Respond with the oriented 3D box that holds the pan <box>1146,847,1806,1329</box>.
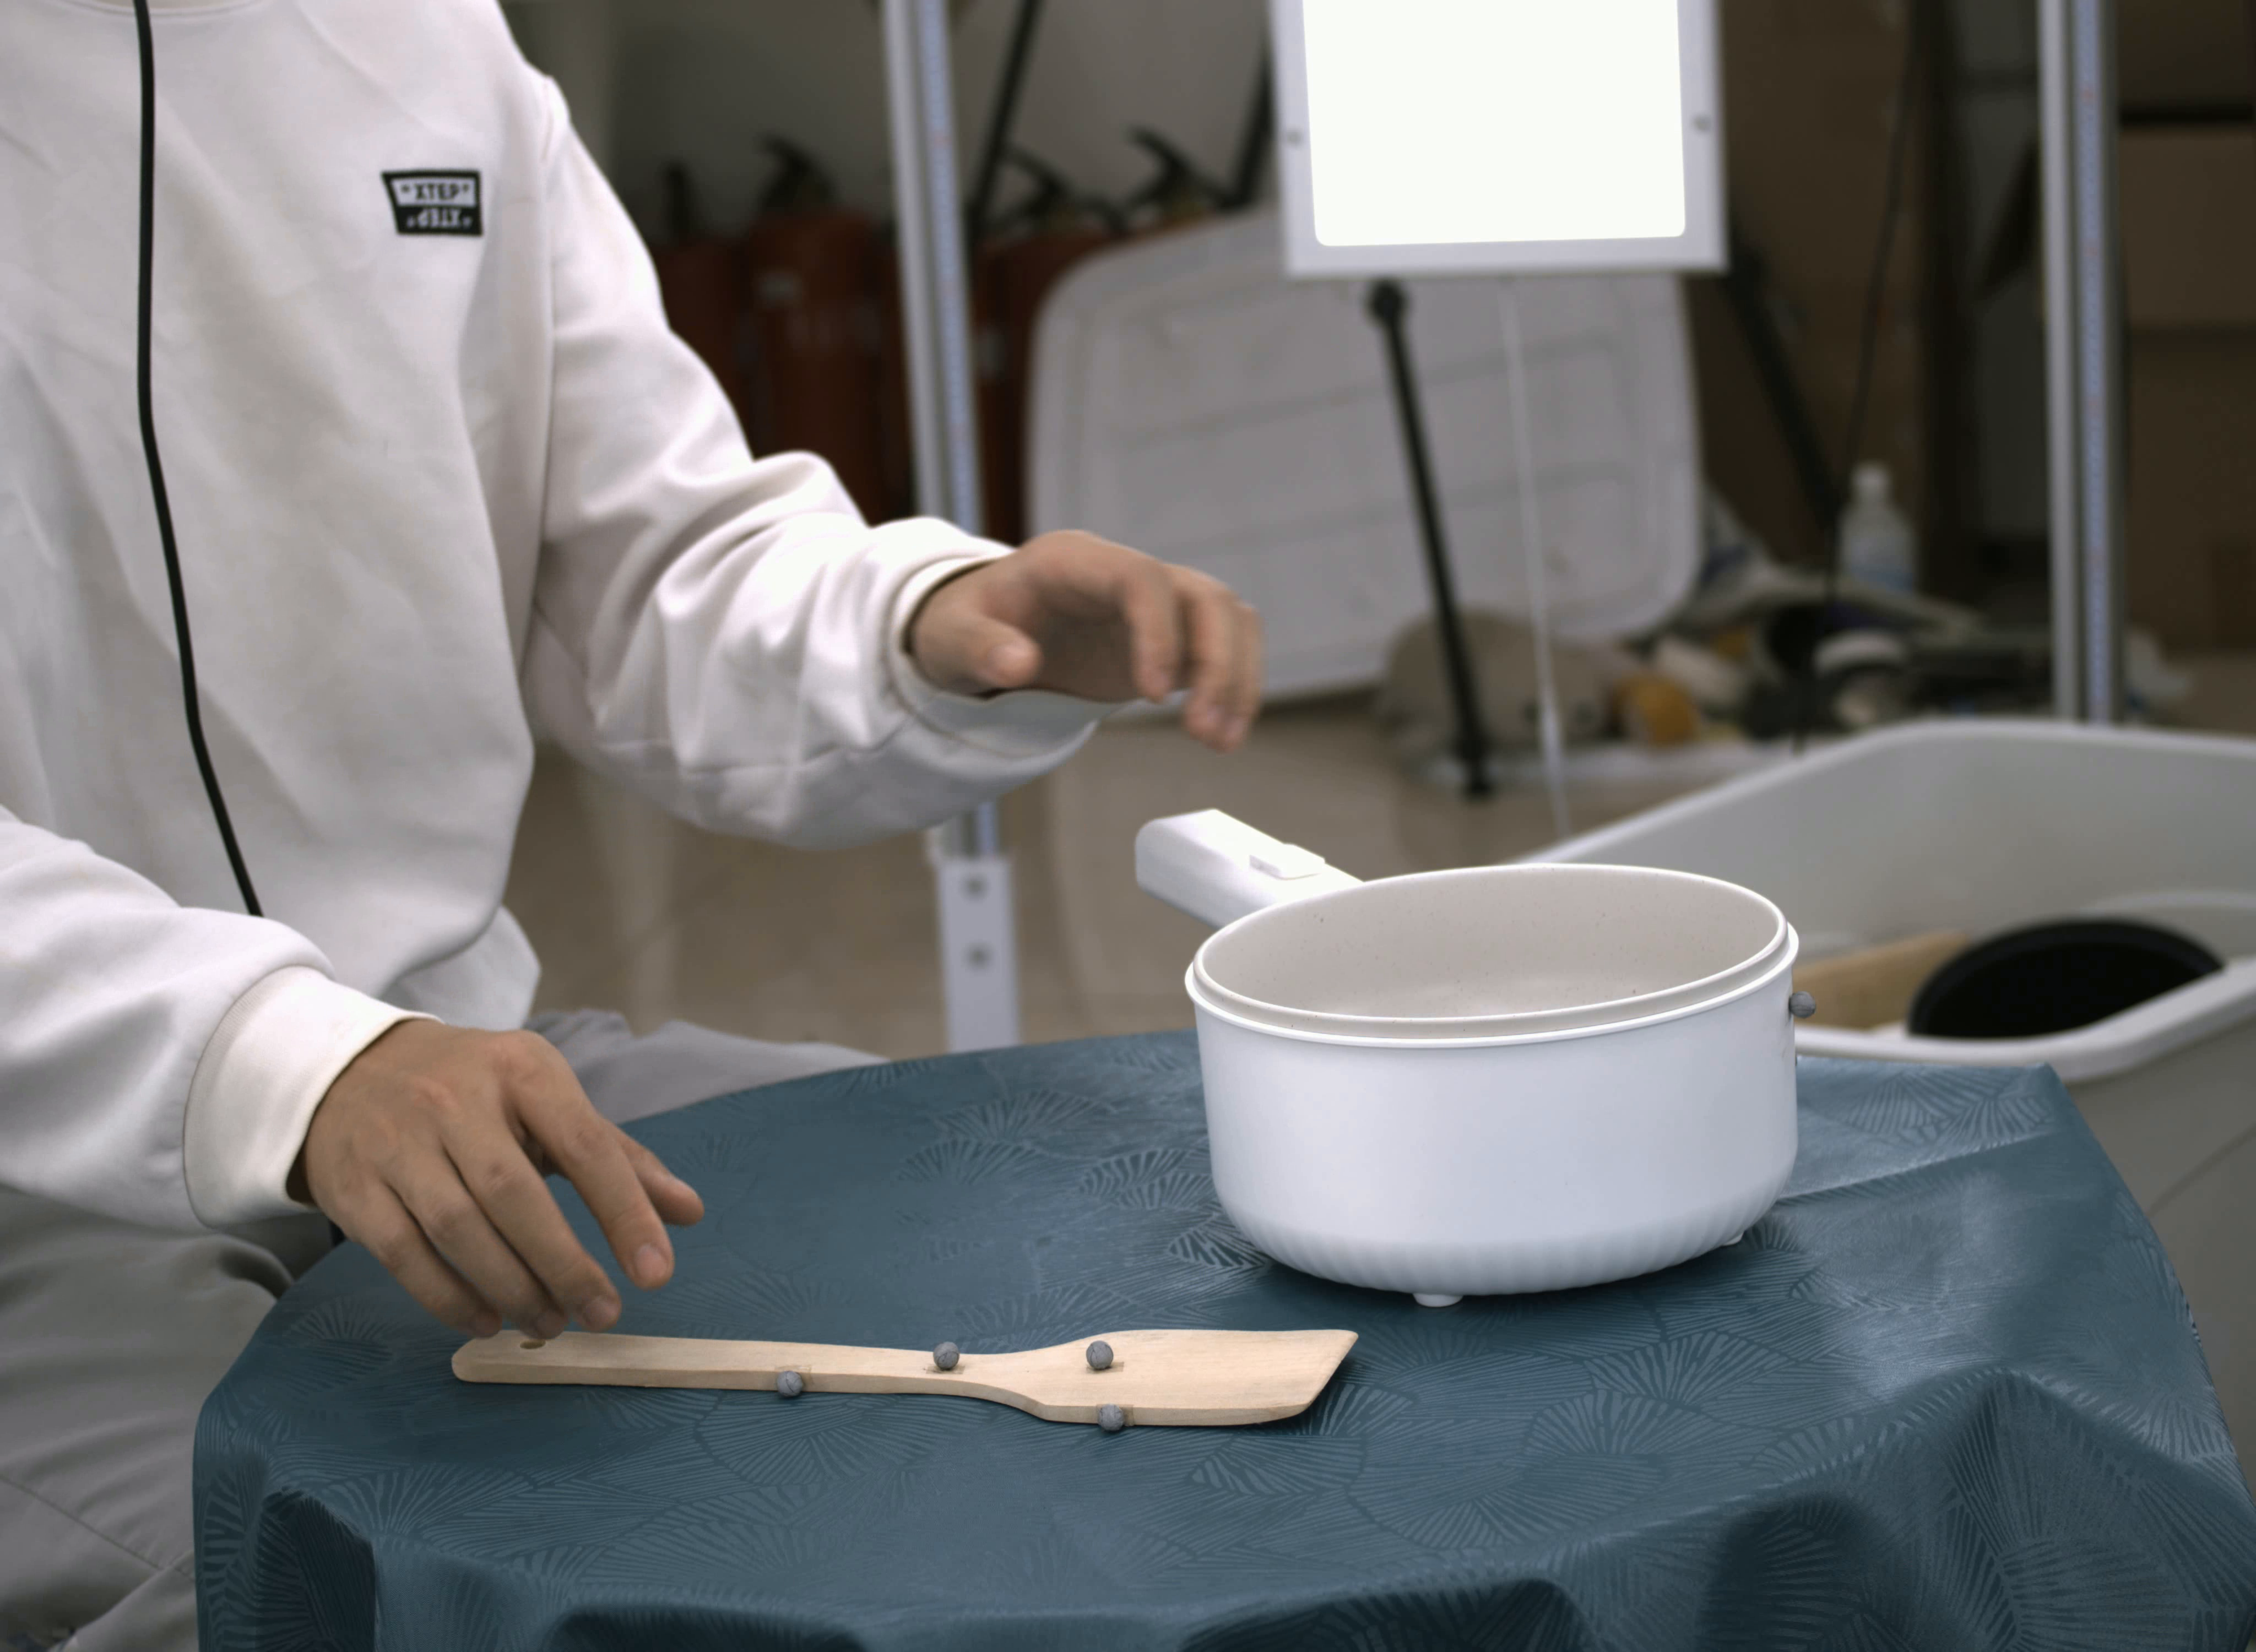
[{"bbox_3d":[0.095,0.081,1.881,0.198,0.102,0.360,-14,13,-20],"label":"pan"}]
